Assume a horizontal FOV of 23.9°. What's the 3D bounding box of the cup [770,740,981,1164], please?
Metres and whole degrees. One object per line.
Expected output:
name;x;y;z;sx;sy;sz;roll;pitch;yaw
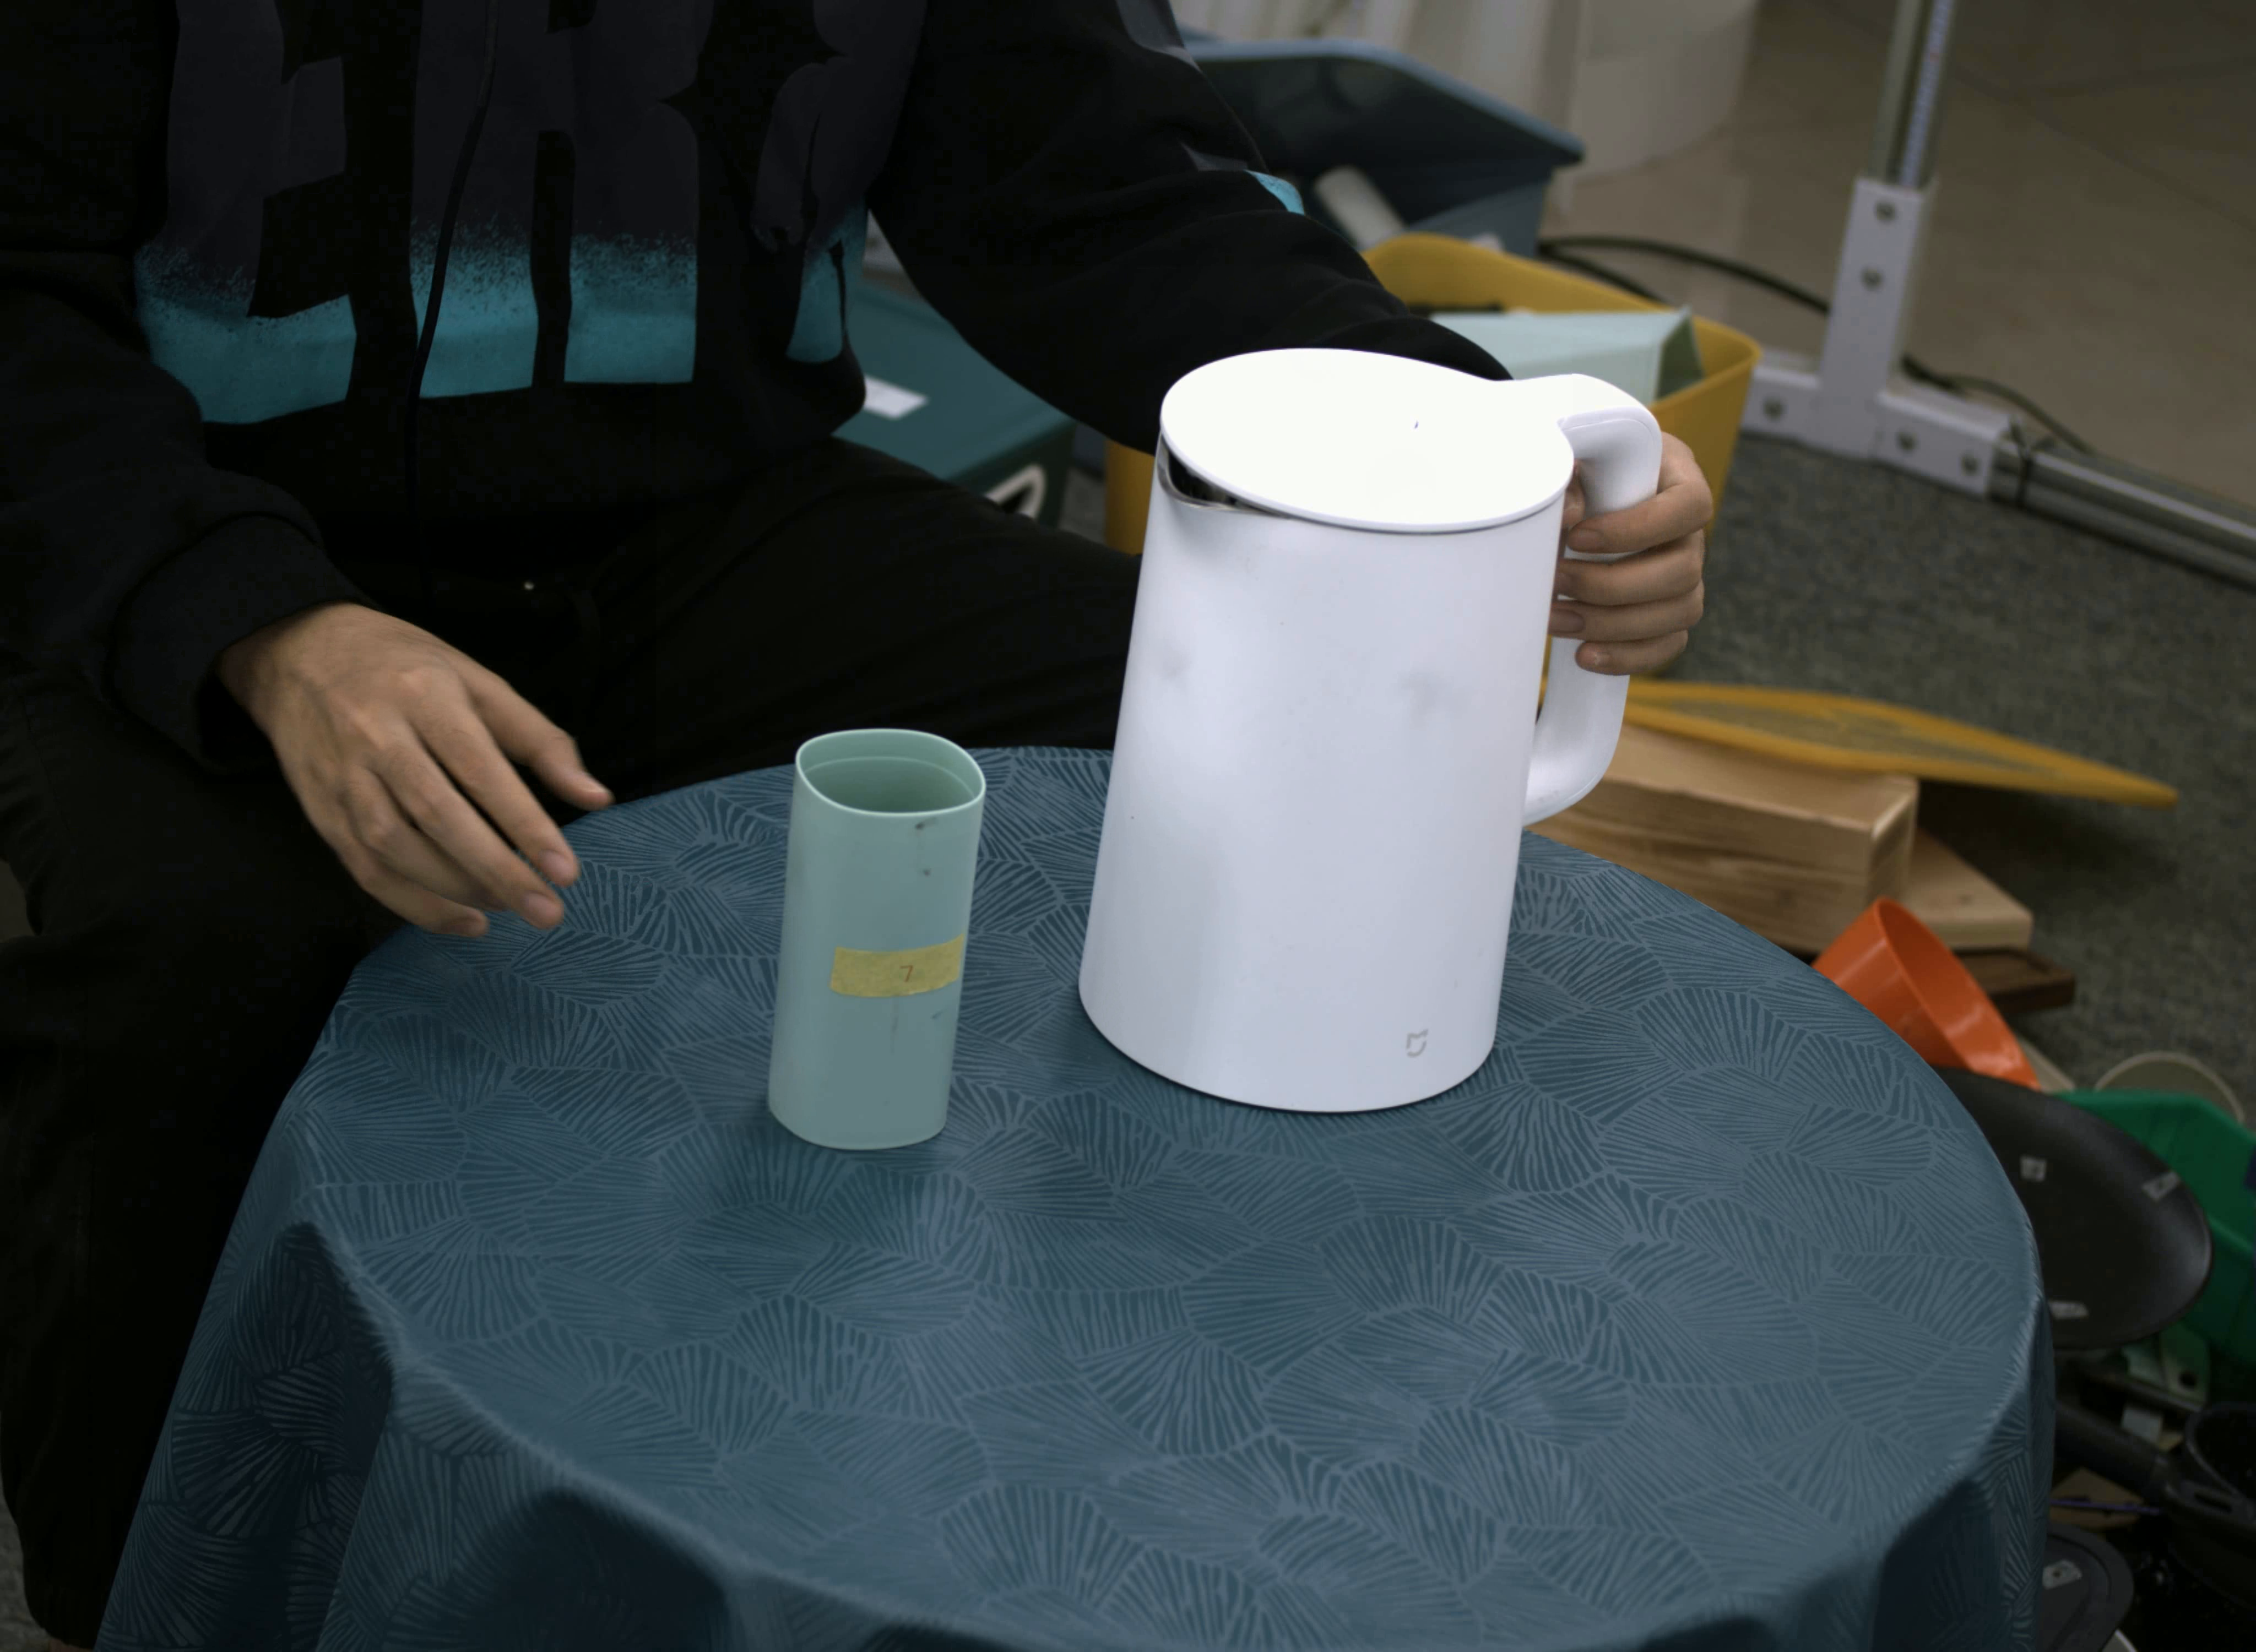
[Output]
cup;-0.087;0.042;1.803;0.066;0.132;0.067;5;27;-3

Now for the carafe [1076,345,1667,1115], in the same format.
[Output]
carafe;0.091;-0.039;1.884;0.212;0.239;0.153;-13;34;-33
